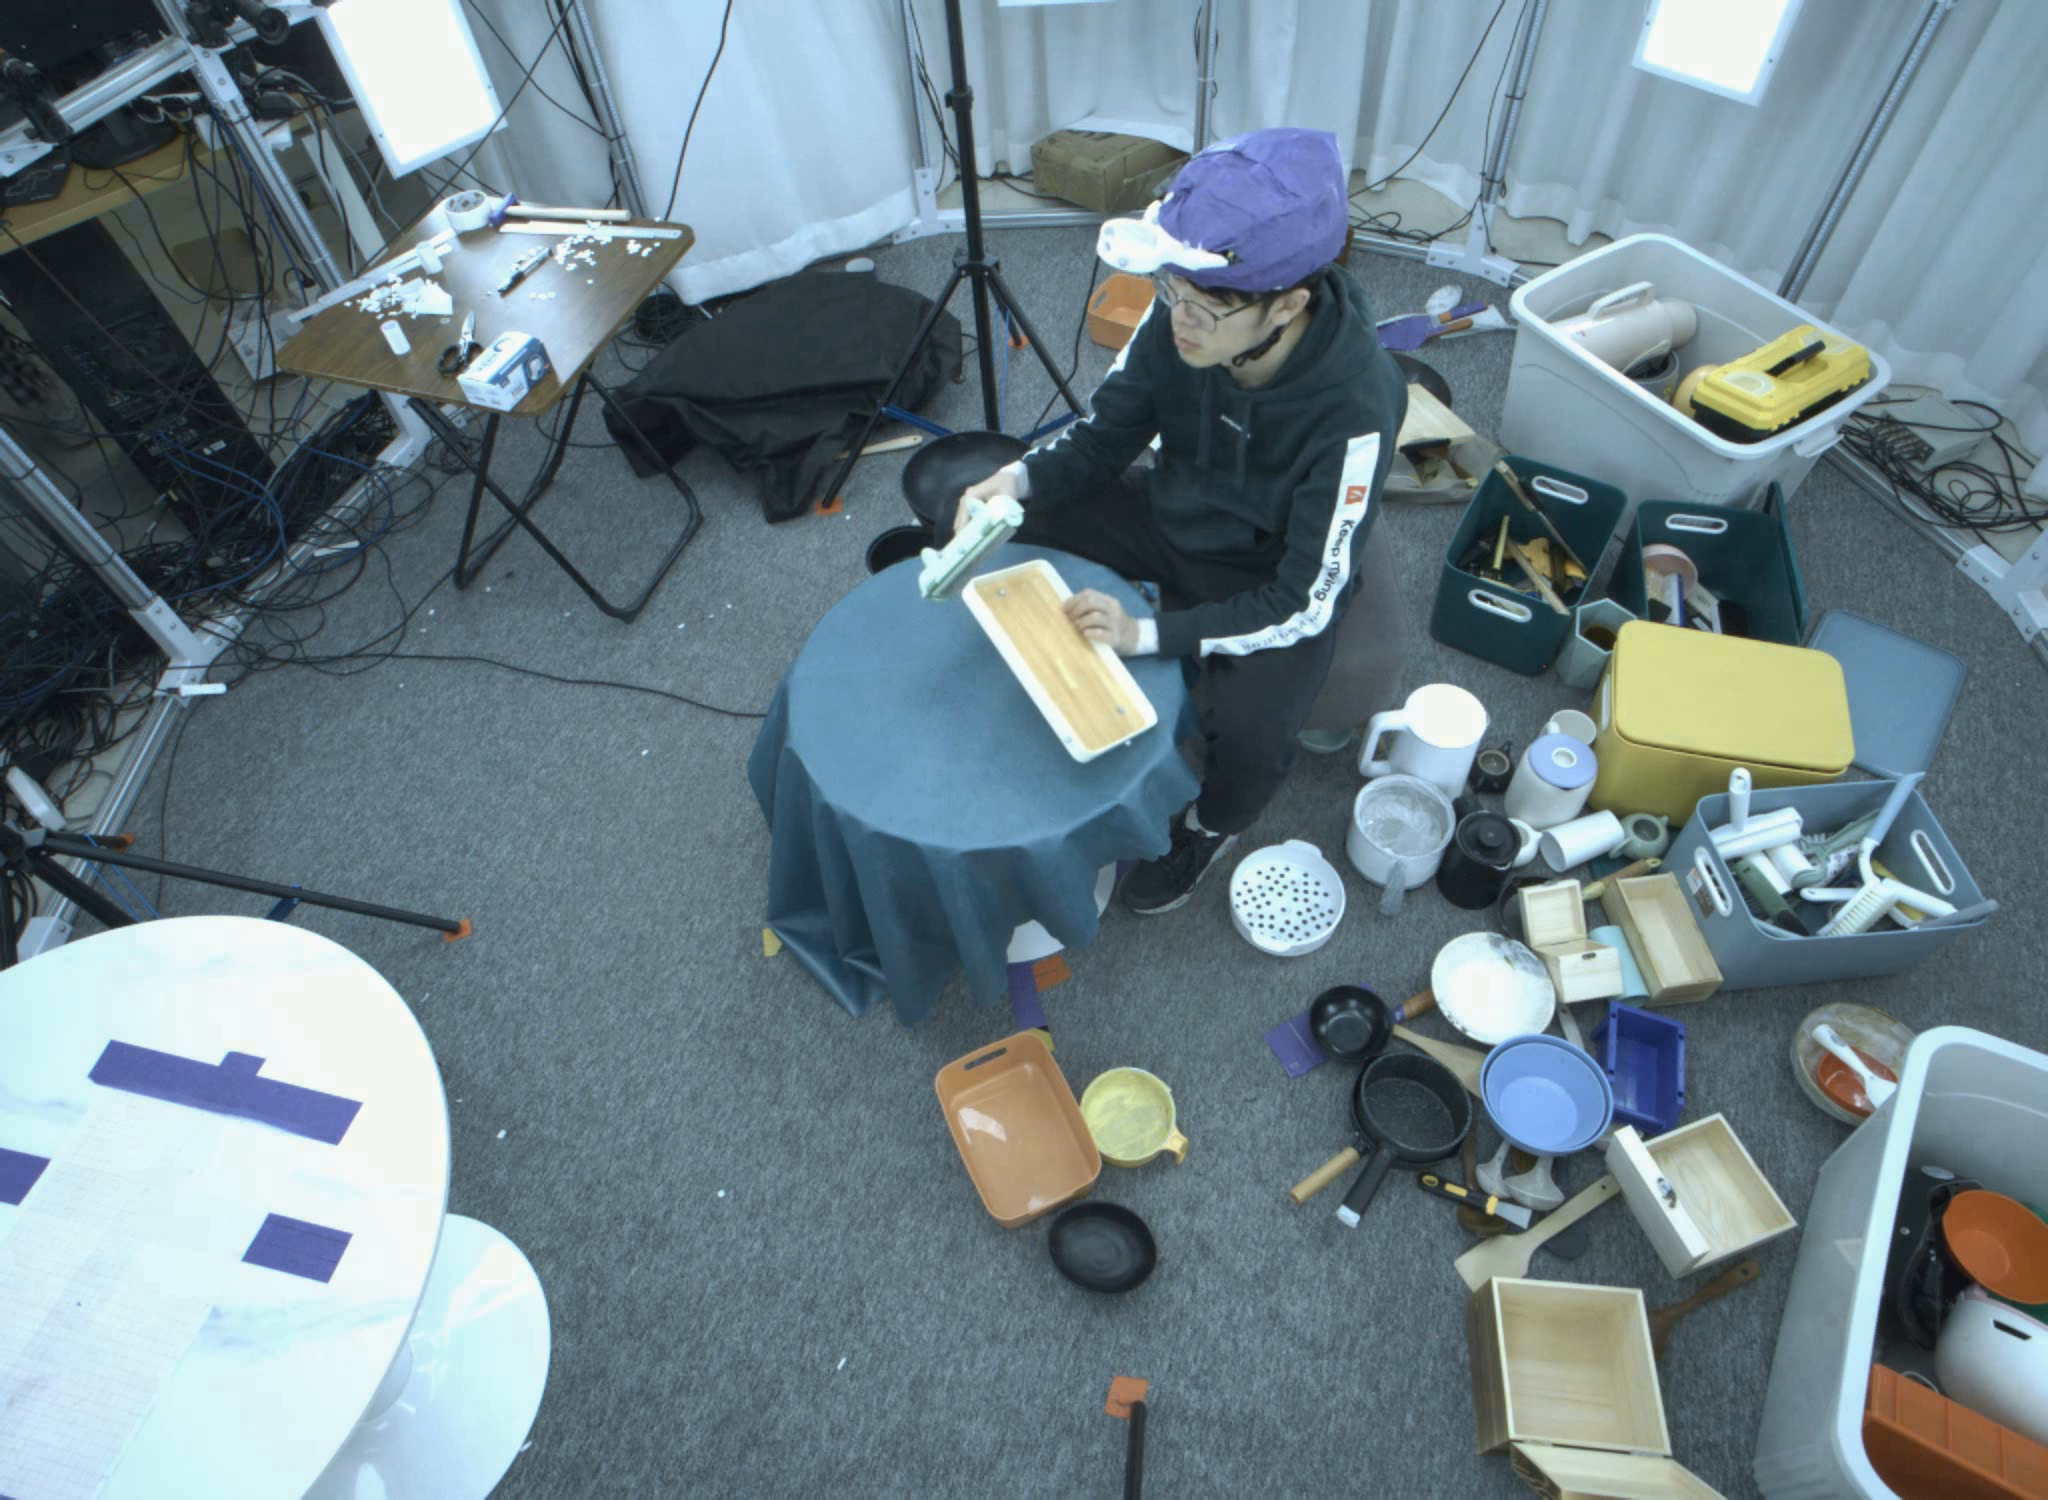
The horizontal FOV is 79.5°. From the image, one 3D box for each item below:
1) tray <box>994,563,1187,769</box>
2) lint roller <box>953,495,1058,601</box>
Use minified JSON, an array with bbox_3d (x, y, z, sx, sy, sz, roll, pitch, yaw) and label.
[{"bbox_3d":[0.096,-0.124,1.734,0.194,0.027,0.299,-25,80,-49],"label":"tray"},{"bbox_3d":[-0.025,-0.328,1.786,0.083,0.196,0.182,34,42,-19],"label":"lint roller"}]
